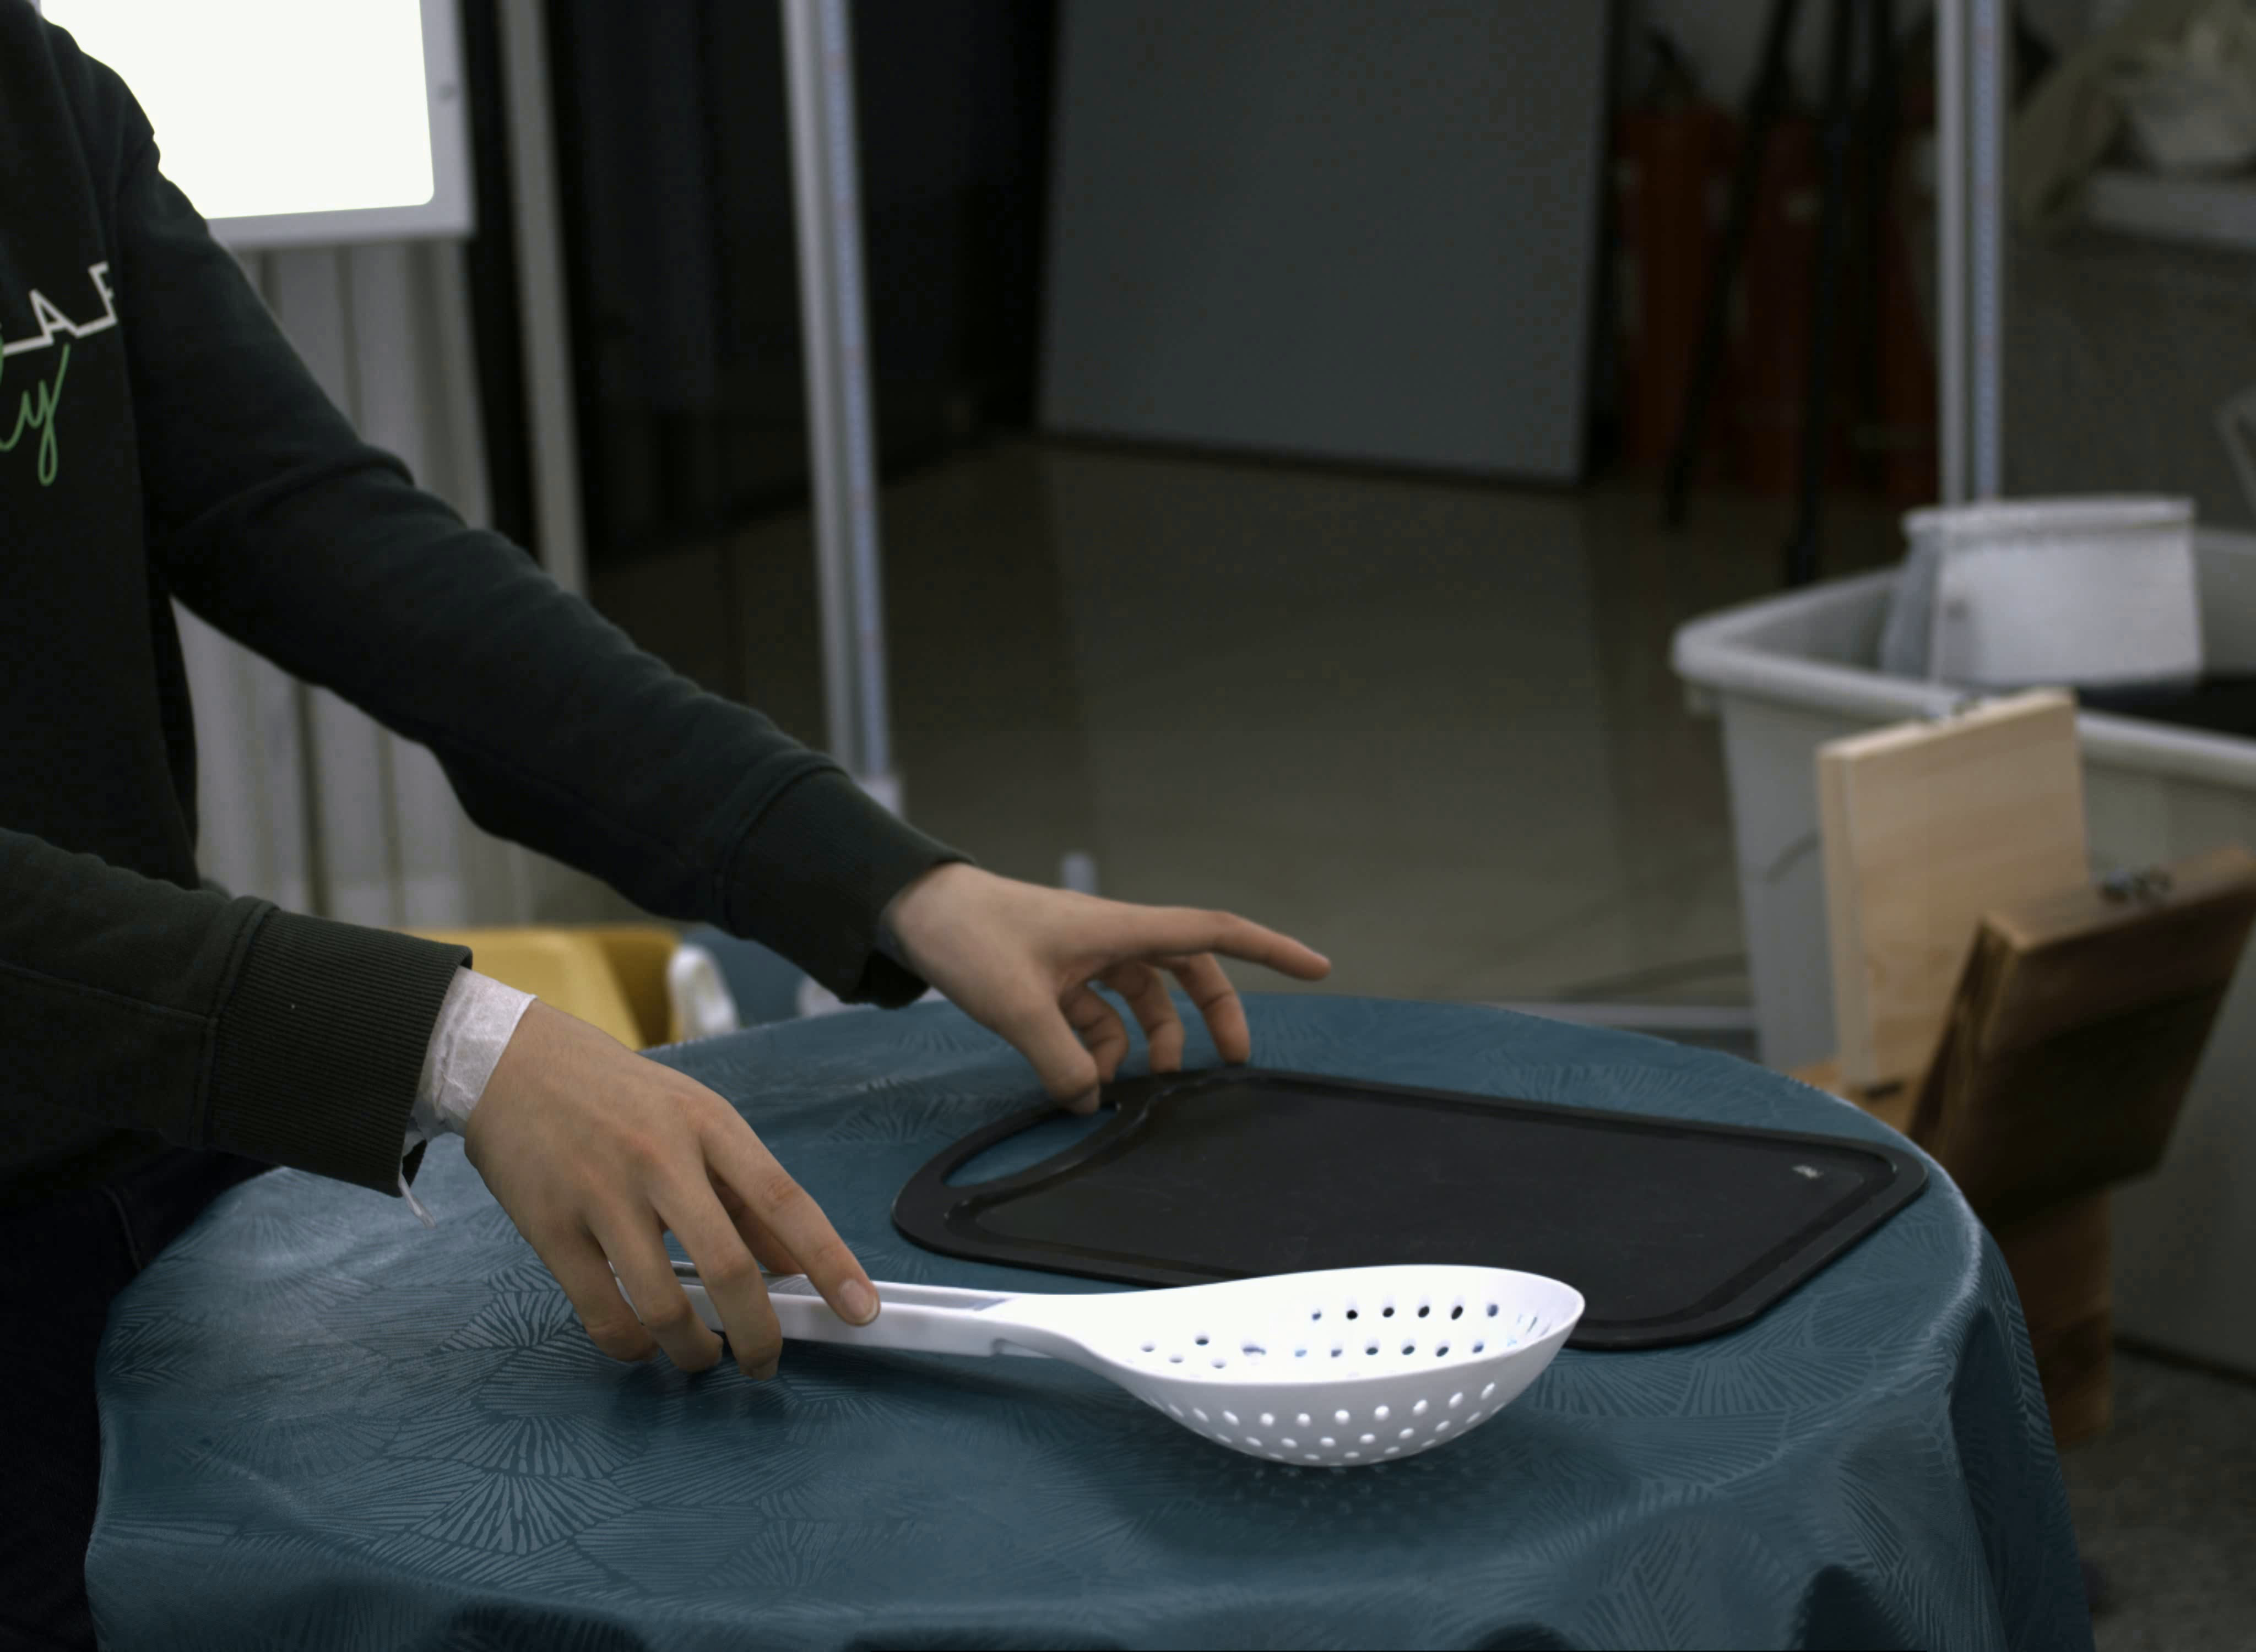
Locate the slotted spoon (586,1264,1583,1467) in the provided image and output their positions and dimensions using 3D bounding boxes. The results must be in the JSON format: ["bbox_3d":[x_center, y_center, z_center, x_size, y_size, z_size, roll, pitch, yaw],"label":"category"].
[{"bbox_3d":[-0.024,0.147,1.580,0.352,0.046,0.133,5,13,37],"label":"slotted spoon"}]

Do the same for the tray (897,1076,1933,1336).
[{"bbox_3d":[0.084,0.118,1.743,0.327,0.010,0.207,5,16,33],"label":"tray"}]
